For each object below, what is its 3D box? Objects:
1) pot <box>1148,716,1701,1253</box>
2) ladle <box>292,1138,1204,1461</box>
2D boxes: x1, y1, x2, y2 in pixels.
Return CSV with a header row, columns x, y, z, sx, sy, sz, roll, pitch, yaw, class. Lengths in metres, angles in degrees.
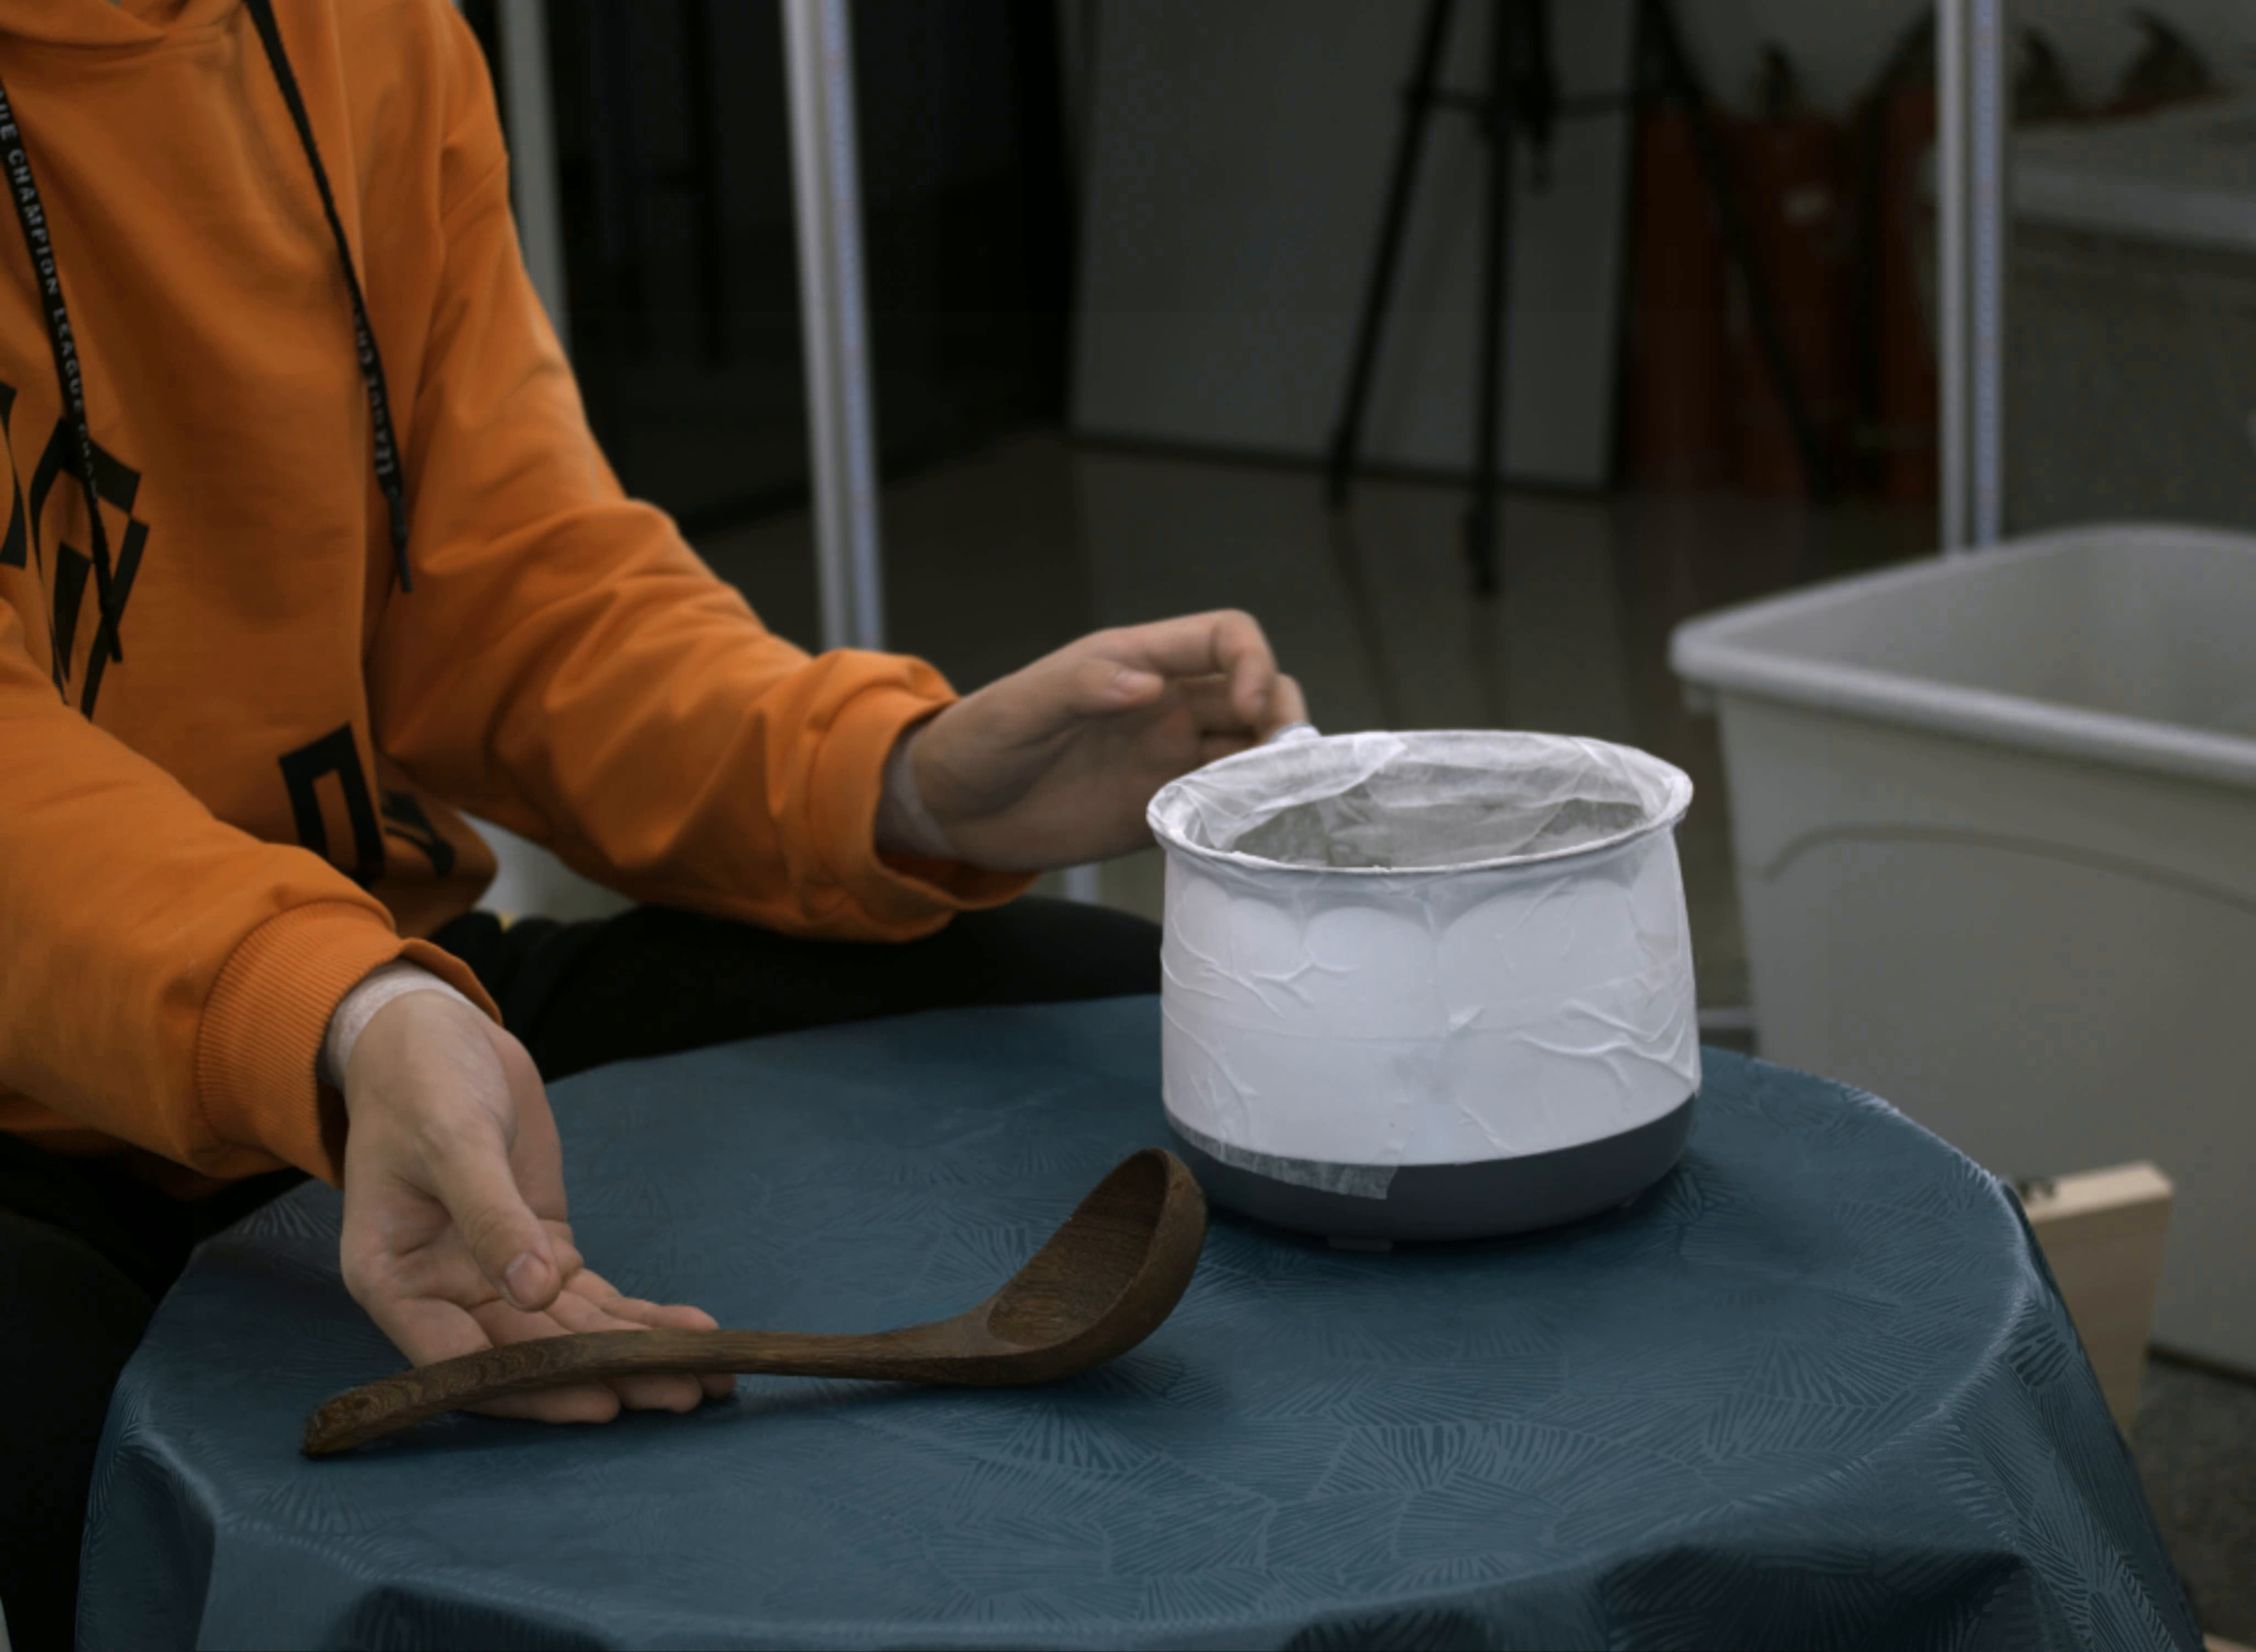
x,y,z,sx,sy,sz,roll,pitch,yaw,class
0.086,0.045,1.765,0.175,0.138,0.236,-9,15,-21,pot
-0.111,0.138,1.587,0.270,0.072,0.076,-5,13,-5,ladle
